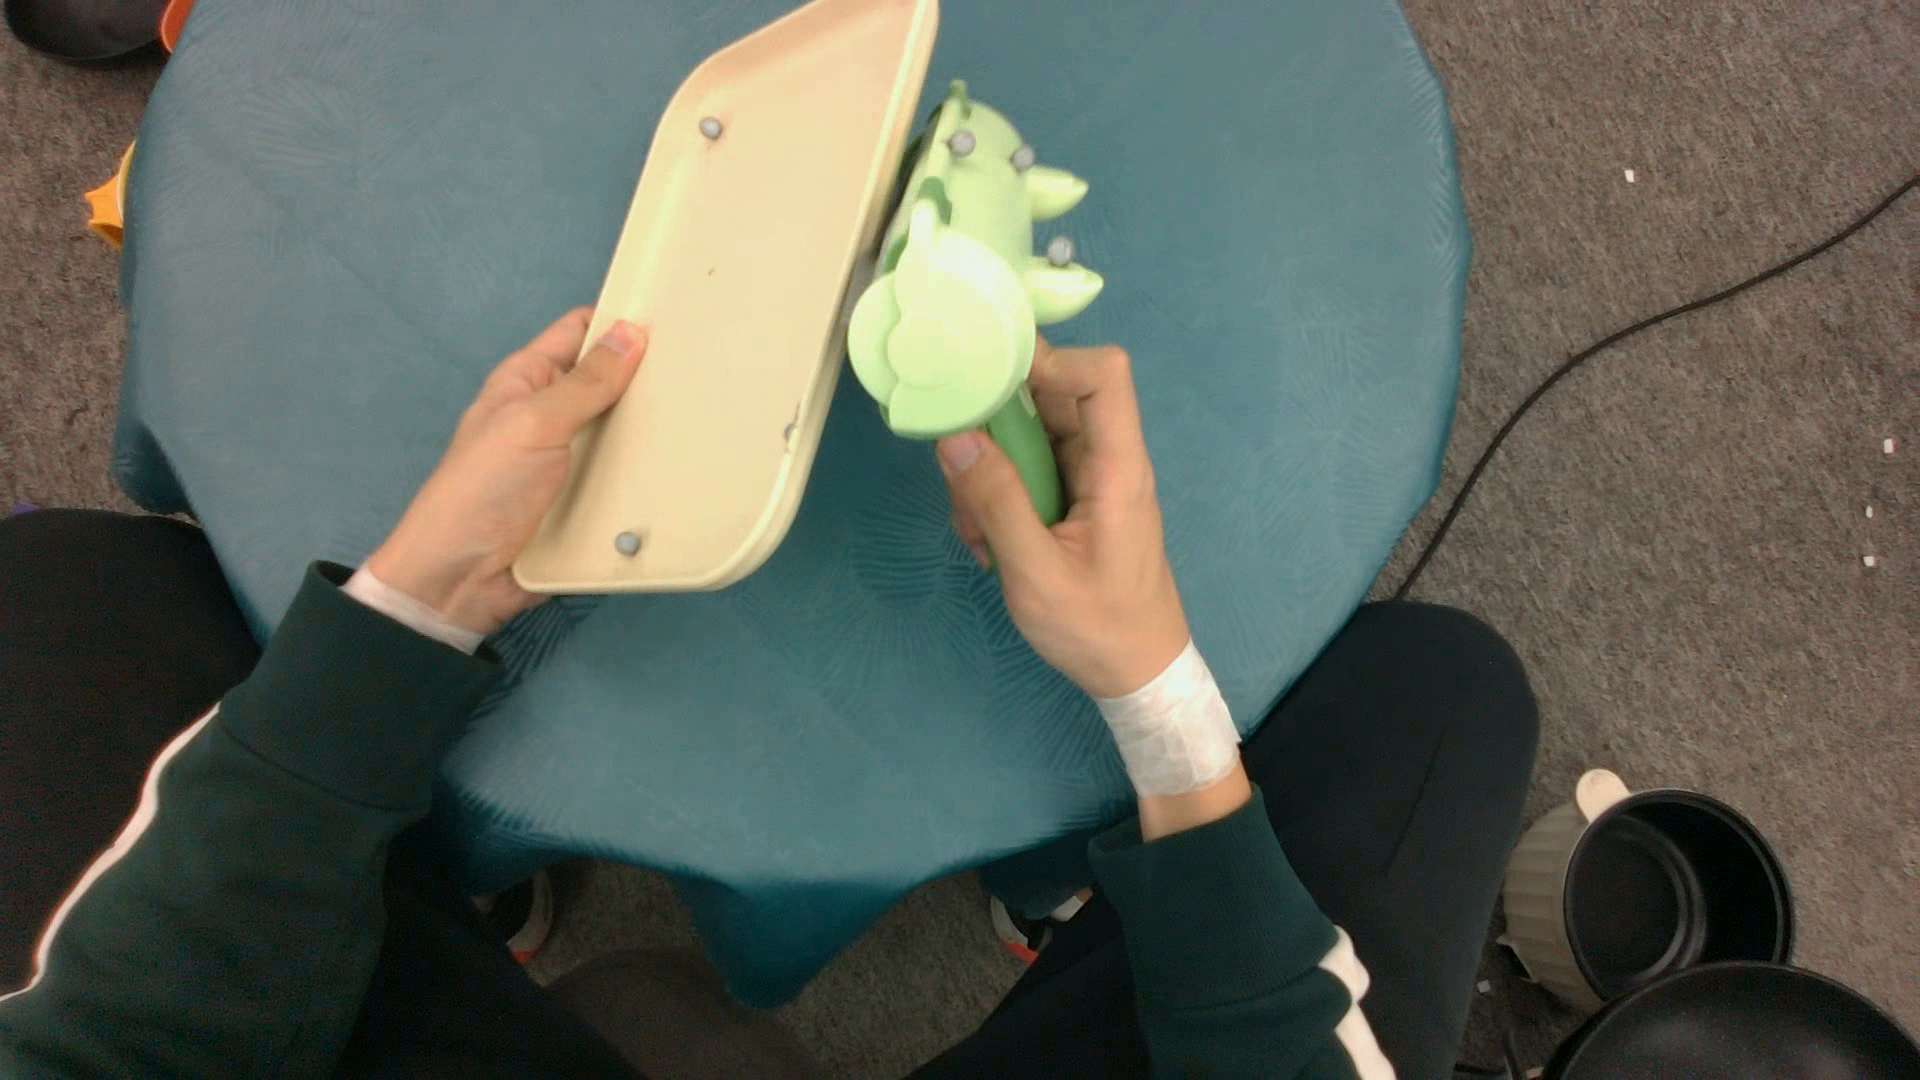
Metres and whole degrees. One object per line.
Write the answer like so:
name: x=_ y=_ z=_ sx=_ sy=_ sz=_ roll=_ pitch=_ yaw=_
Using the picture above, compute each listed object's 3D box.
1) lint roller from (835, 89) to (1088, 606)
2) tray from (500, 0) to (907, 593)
lint roller: x=0.020 y=-0.061 z=0.495 sx=0.082 sy=0.199 sz=0.183 roll=-23 pitch=115 yaw=11
tray: x=-0.095 y=-0.095 z=0.508 sx=0.017 sy=0.171 sz=0.240 roll=27 pitch=68 yaw=-40
